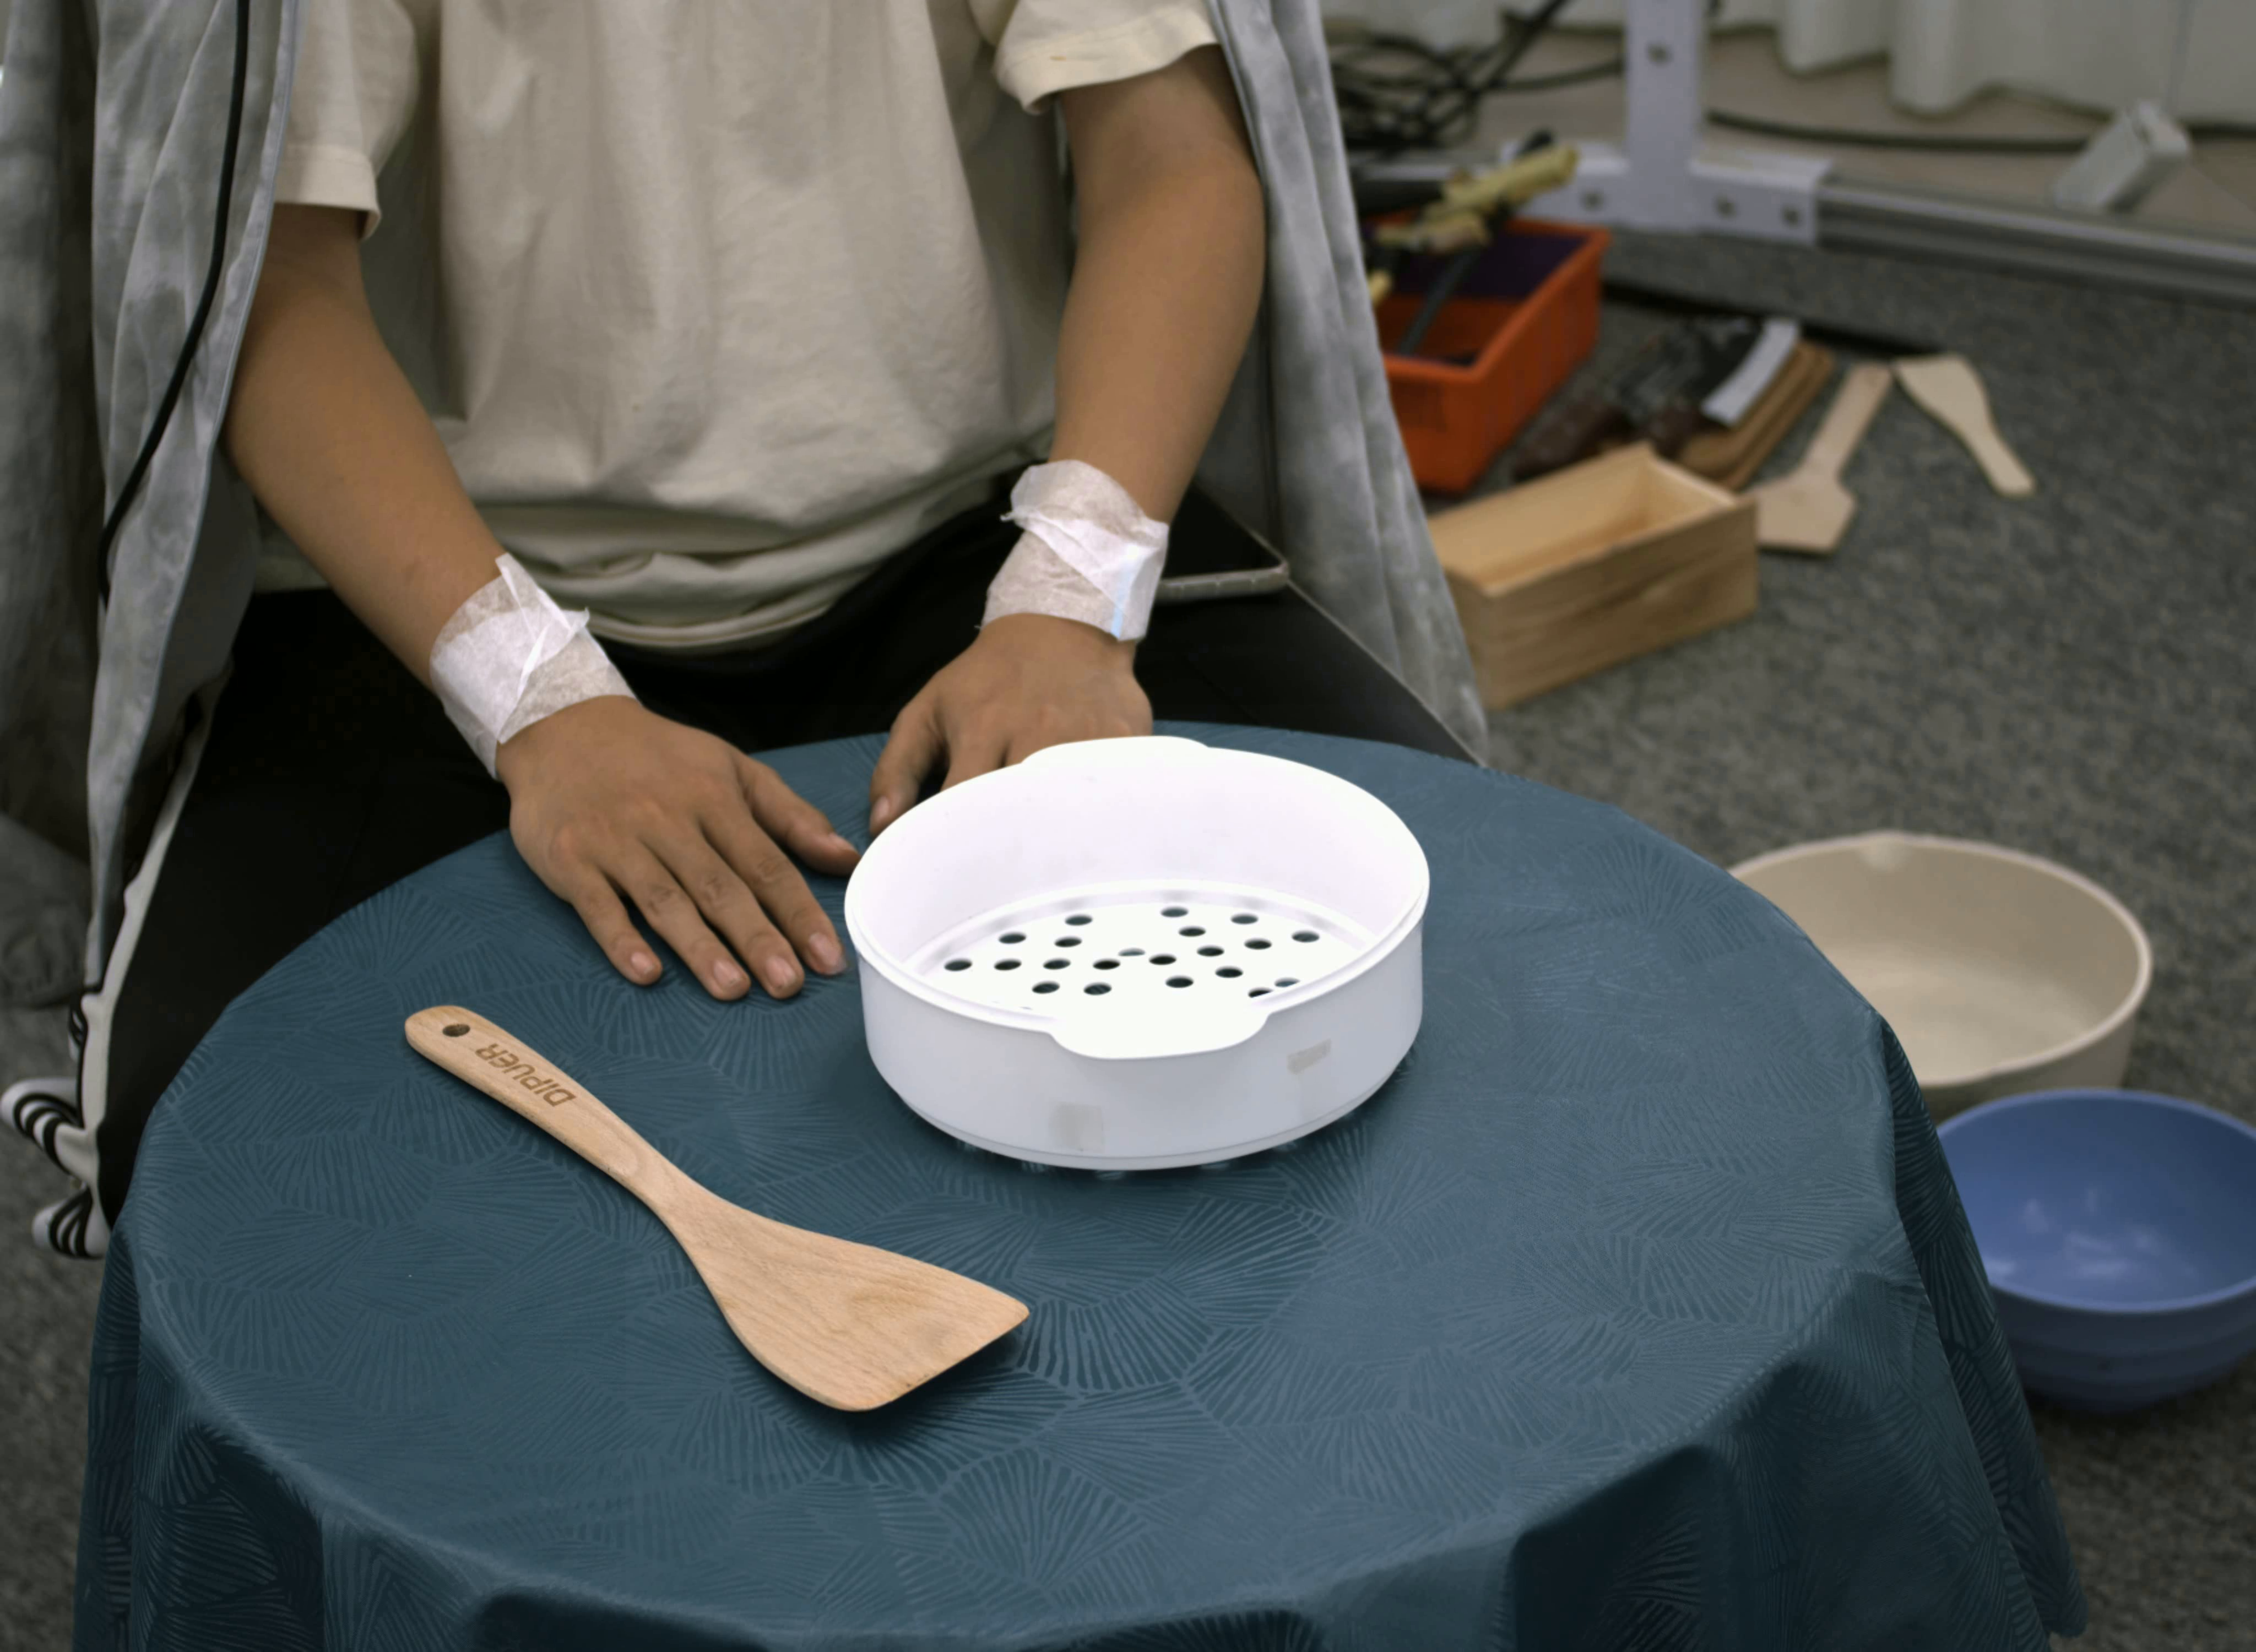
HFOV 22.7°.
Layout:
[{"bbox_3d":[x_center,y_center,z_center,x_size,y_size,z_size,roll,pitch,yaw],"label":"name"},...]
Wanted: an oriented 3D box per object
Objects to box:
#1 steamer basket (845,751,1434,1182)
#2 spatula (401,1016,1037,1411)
[{"bbox_3d":[0.005,0.050,1.929,0.201,0.068,0.234,-3,26,-3],"label":"steamer basket"},{"bbox_3d":[-0.149,0.120,1.858,0.080,0.016,0.328,-21,32,-32],"label":"spatula"}]
